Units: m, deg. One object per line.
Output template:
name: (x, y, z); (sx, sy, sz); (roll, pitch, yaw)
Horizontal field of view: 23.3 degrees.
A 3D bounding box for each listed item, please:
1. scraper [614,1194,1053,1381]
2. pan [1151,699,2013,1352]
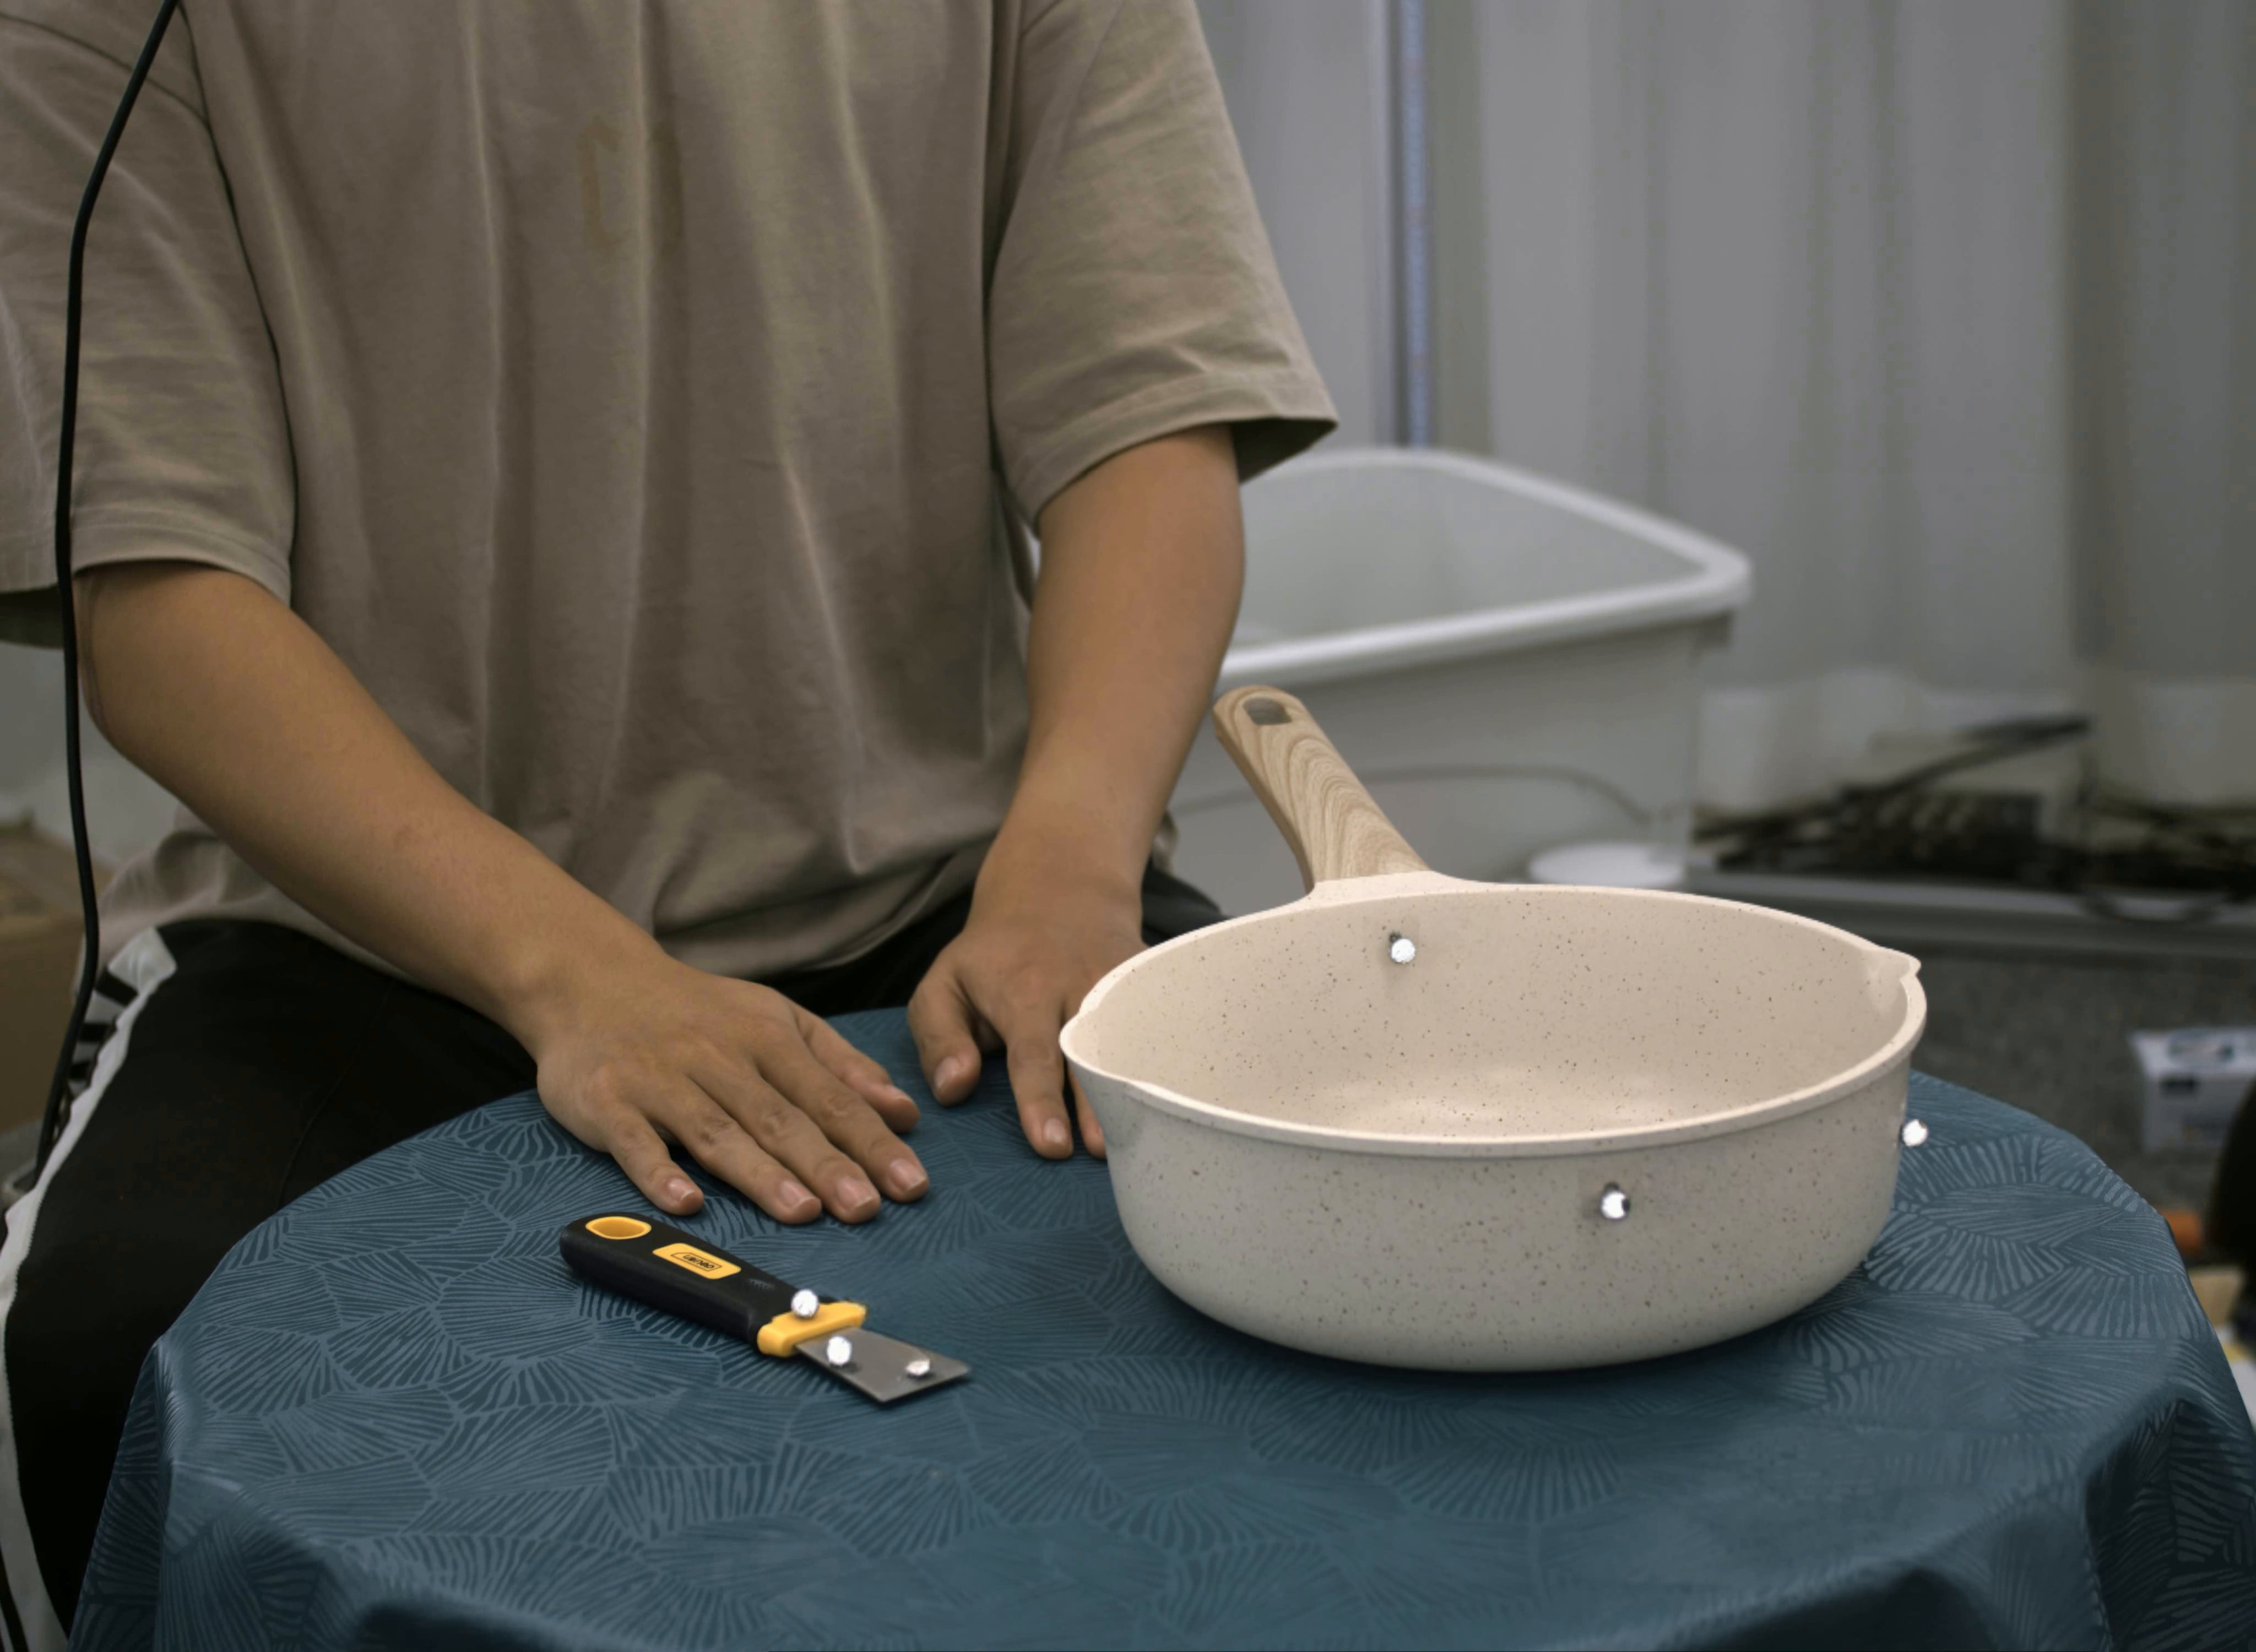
scraper: (-0.092, 0.135, 1.608); (0.039, 0.015, 0.172); (-21, 25, -39)
pan: (0.117, 0.056, 1.715); (0.262, 0.101, 0.438); (-8, 16, -11)
